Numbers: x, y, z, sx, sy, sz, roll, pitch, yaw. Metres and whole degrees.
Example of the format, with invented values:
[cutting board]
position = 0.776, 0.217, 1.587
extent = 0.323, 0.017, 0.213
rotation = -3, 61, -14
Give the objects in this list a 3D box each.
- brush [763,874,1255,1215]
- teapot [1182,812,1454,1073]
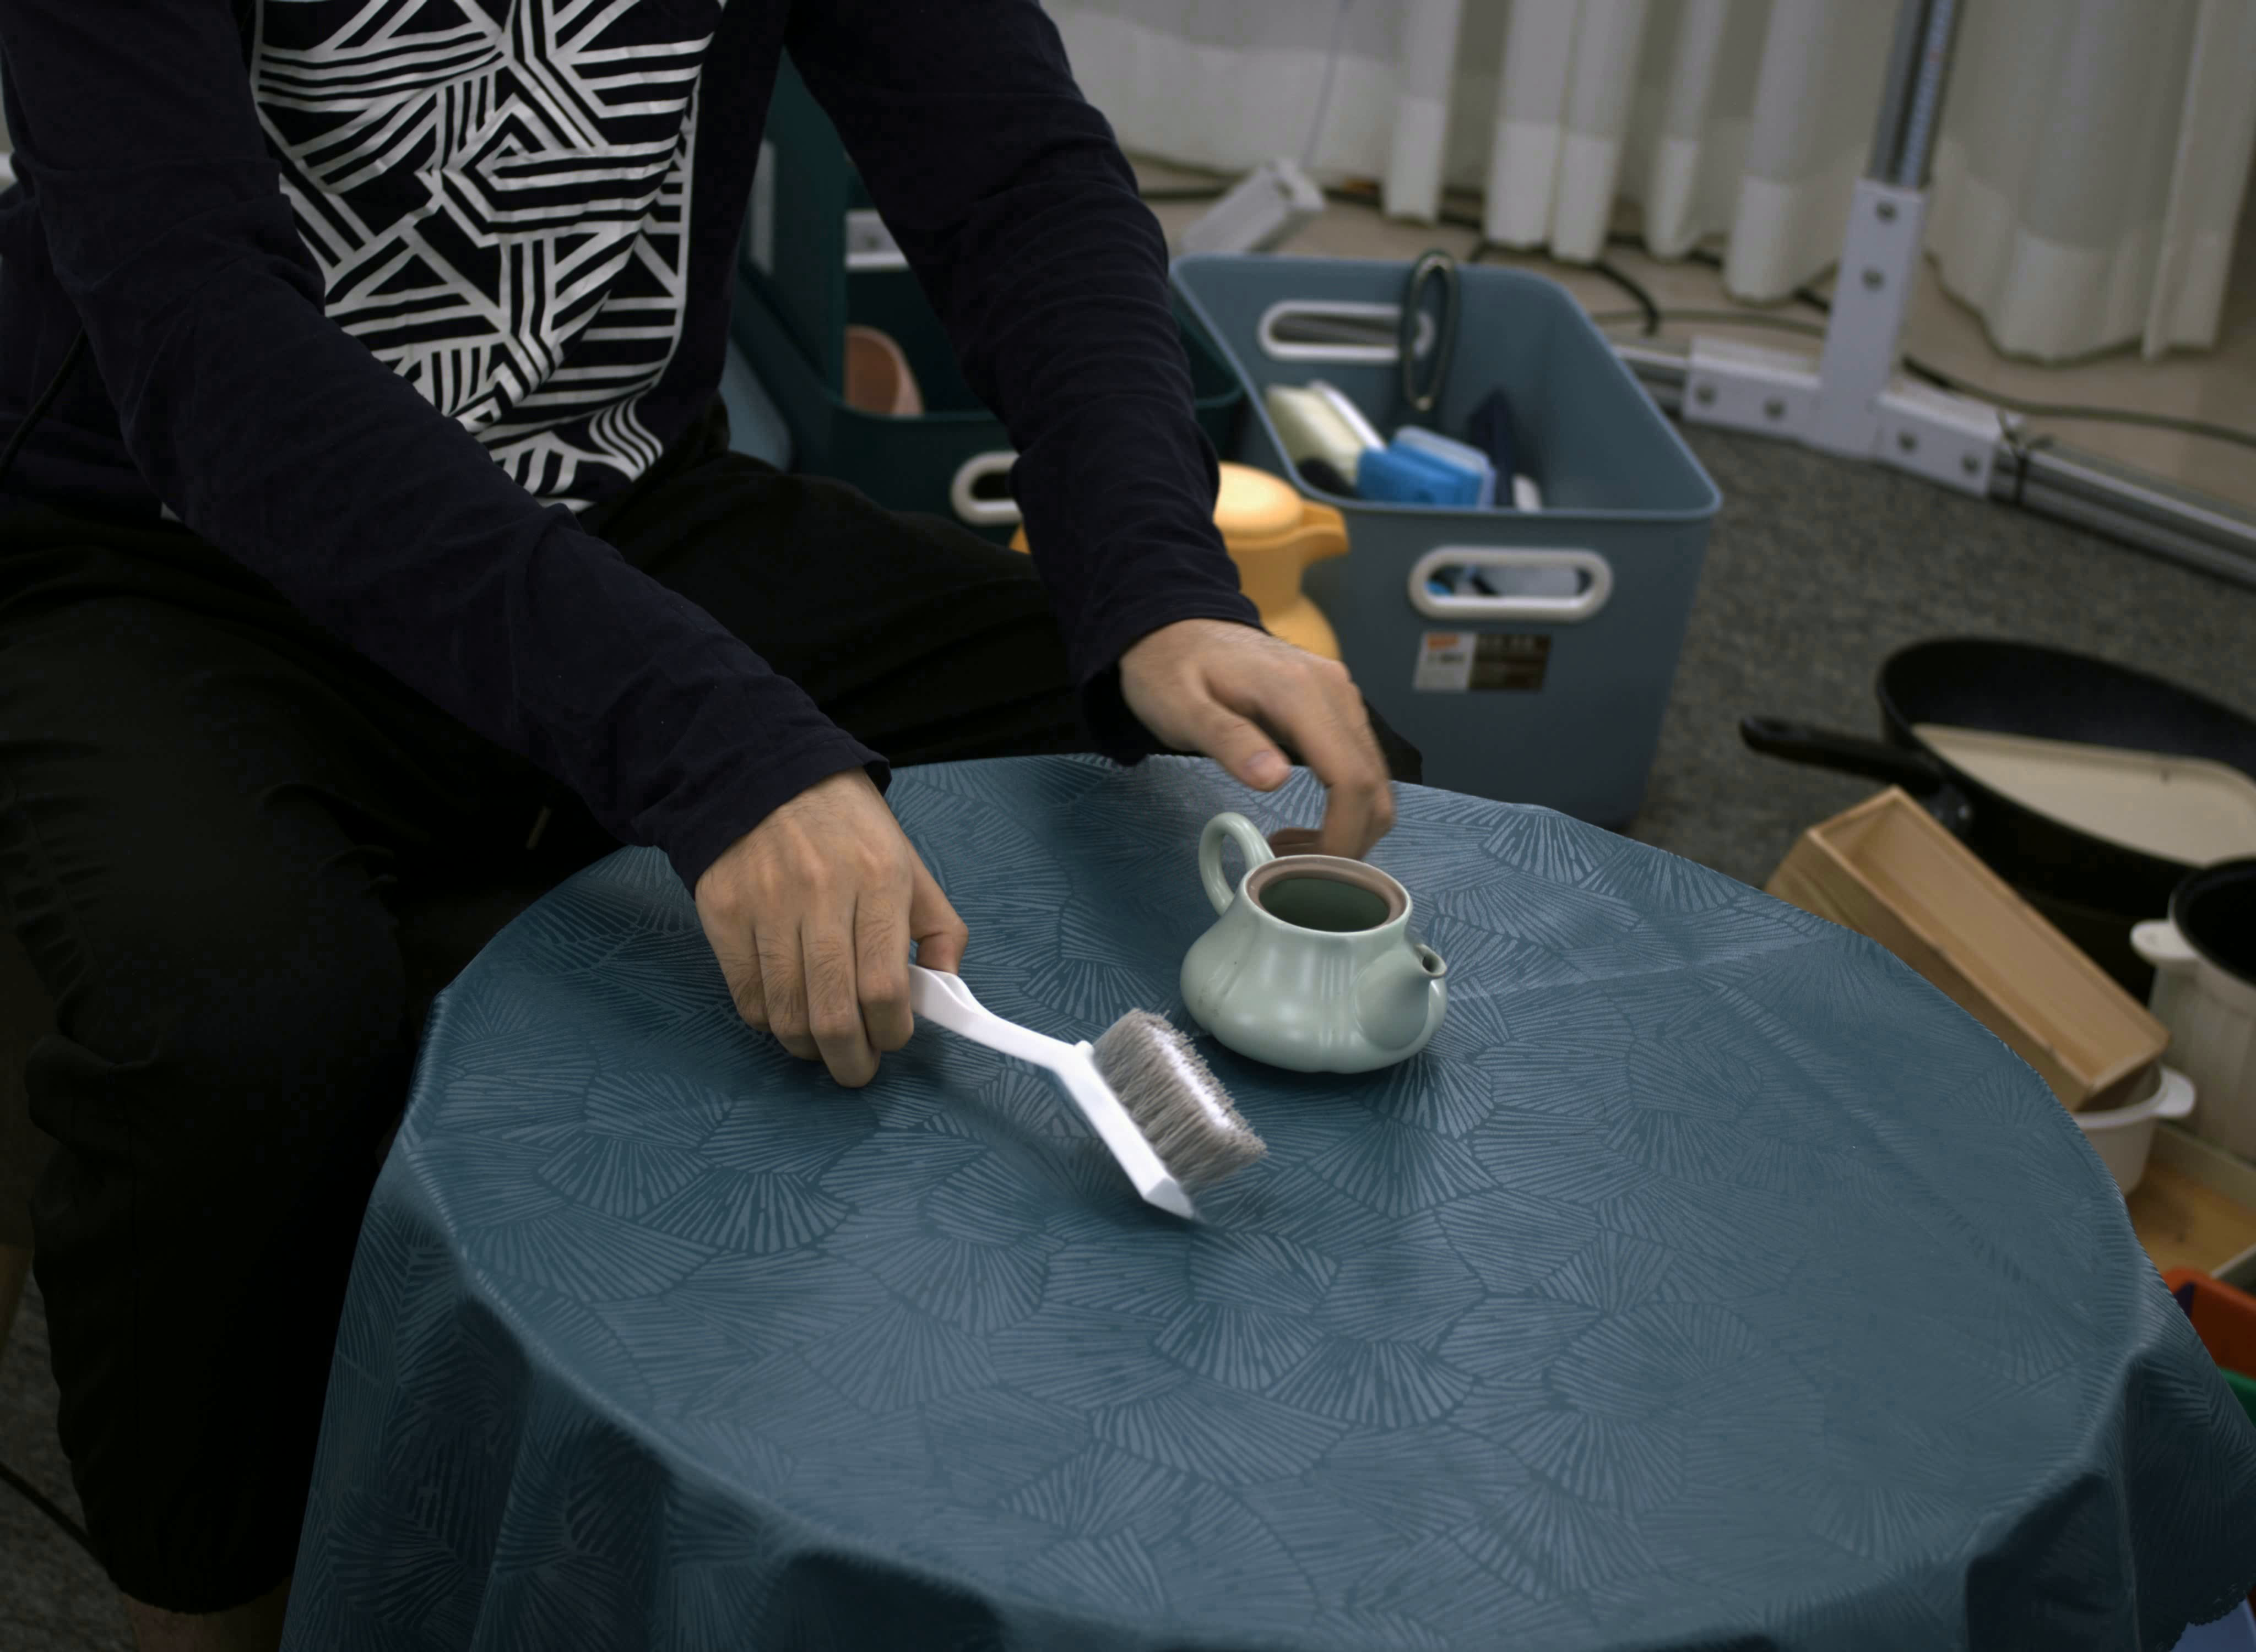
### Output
[brush]
position = -0.044, 0.059, 1.851
extent = 0.034, 0.050, 0.246
rotation = 8, 22, -46
[teapot]
position = 0.066, 0.045, 1.909
extent = 0.095, 0.061, 0.138
rotation = -18, 36, -34
